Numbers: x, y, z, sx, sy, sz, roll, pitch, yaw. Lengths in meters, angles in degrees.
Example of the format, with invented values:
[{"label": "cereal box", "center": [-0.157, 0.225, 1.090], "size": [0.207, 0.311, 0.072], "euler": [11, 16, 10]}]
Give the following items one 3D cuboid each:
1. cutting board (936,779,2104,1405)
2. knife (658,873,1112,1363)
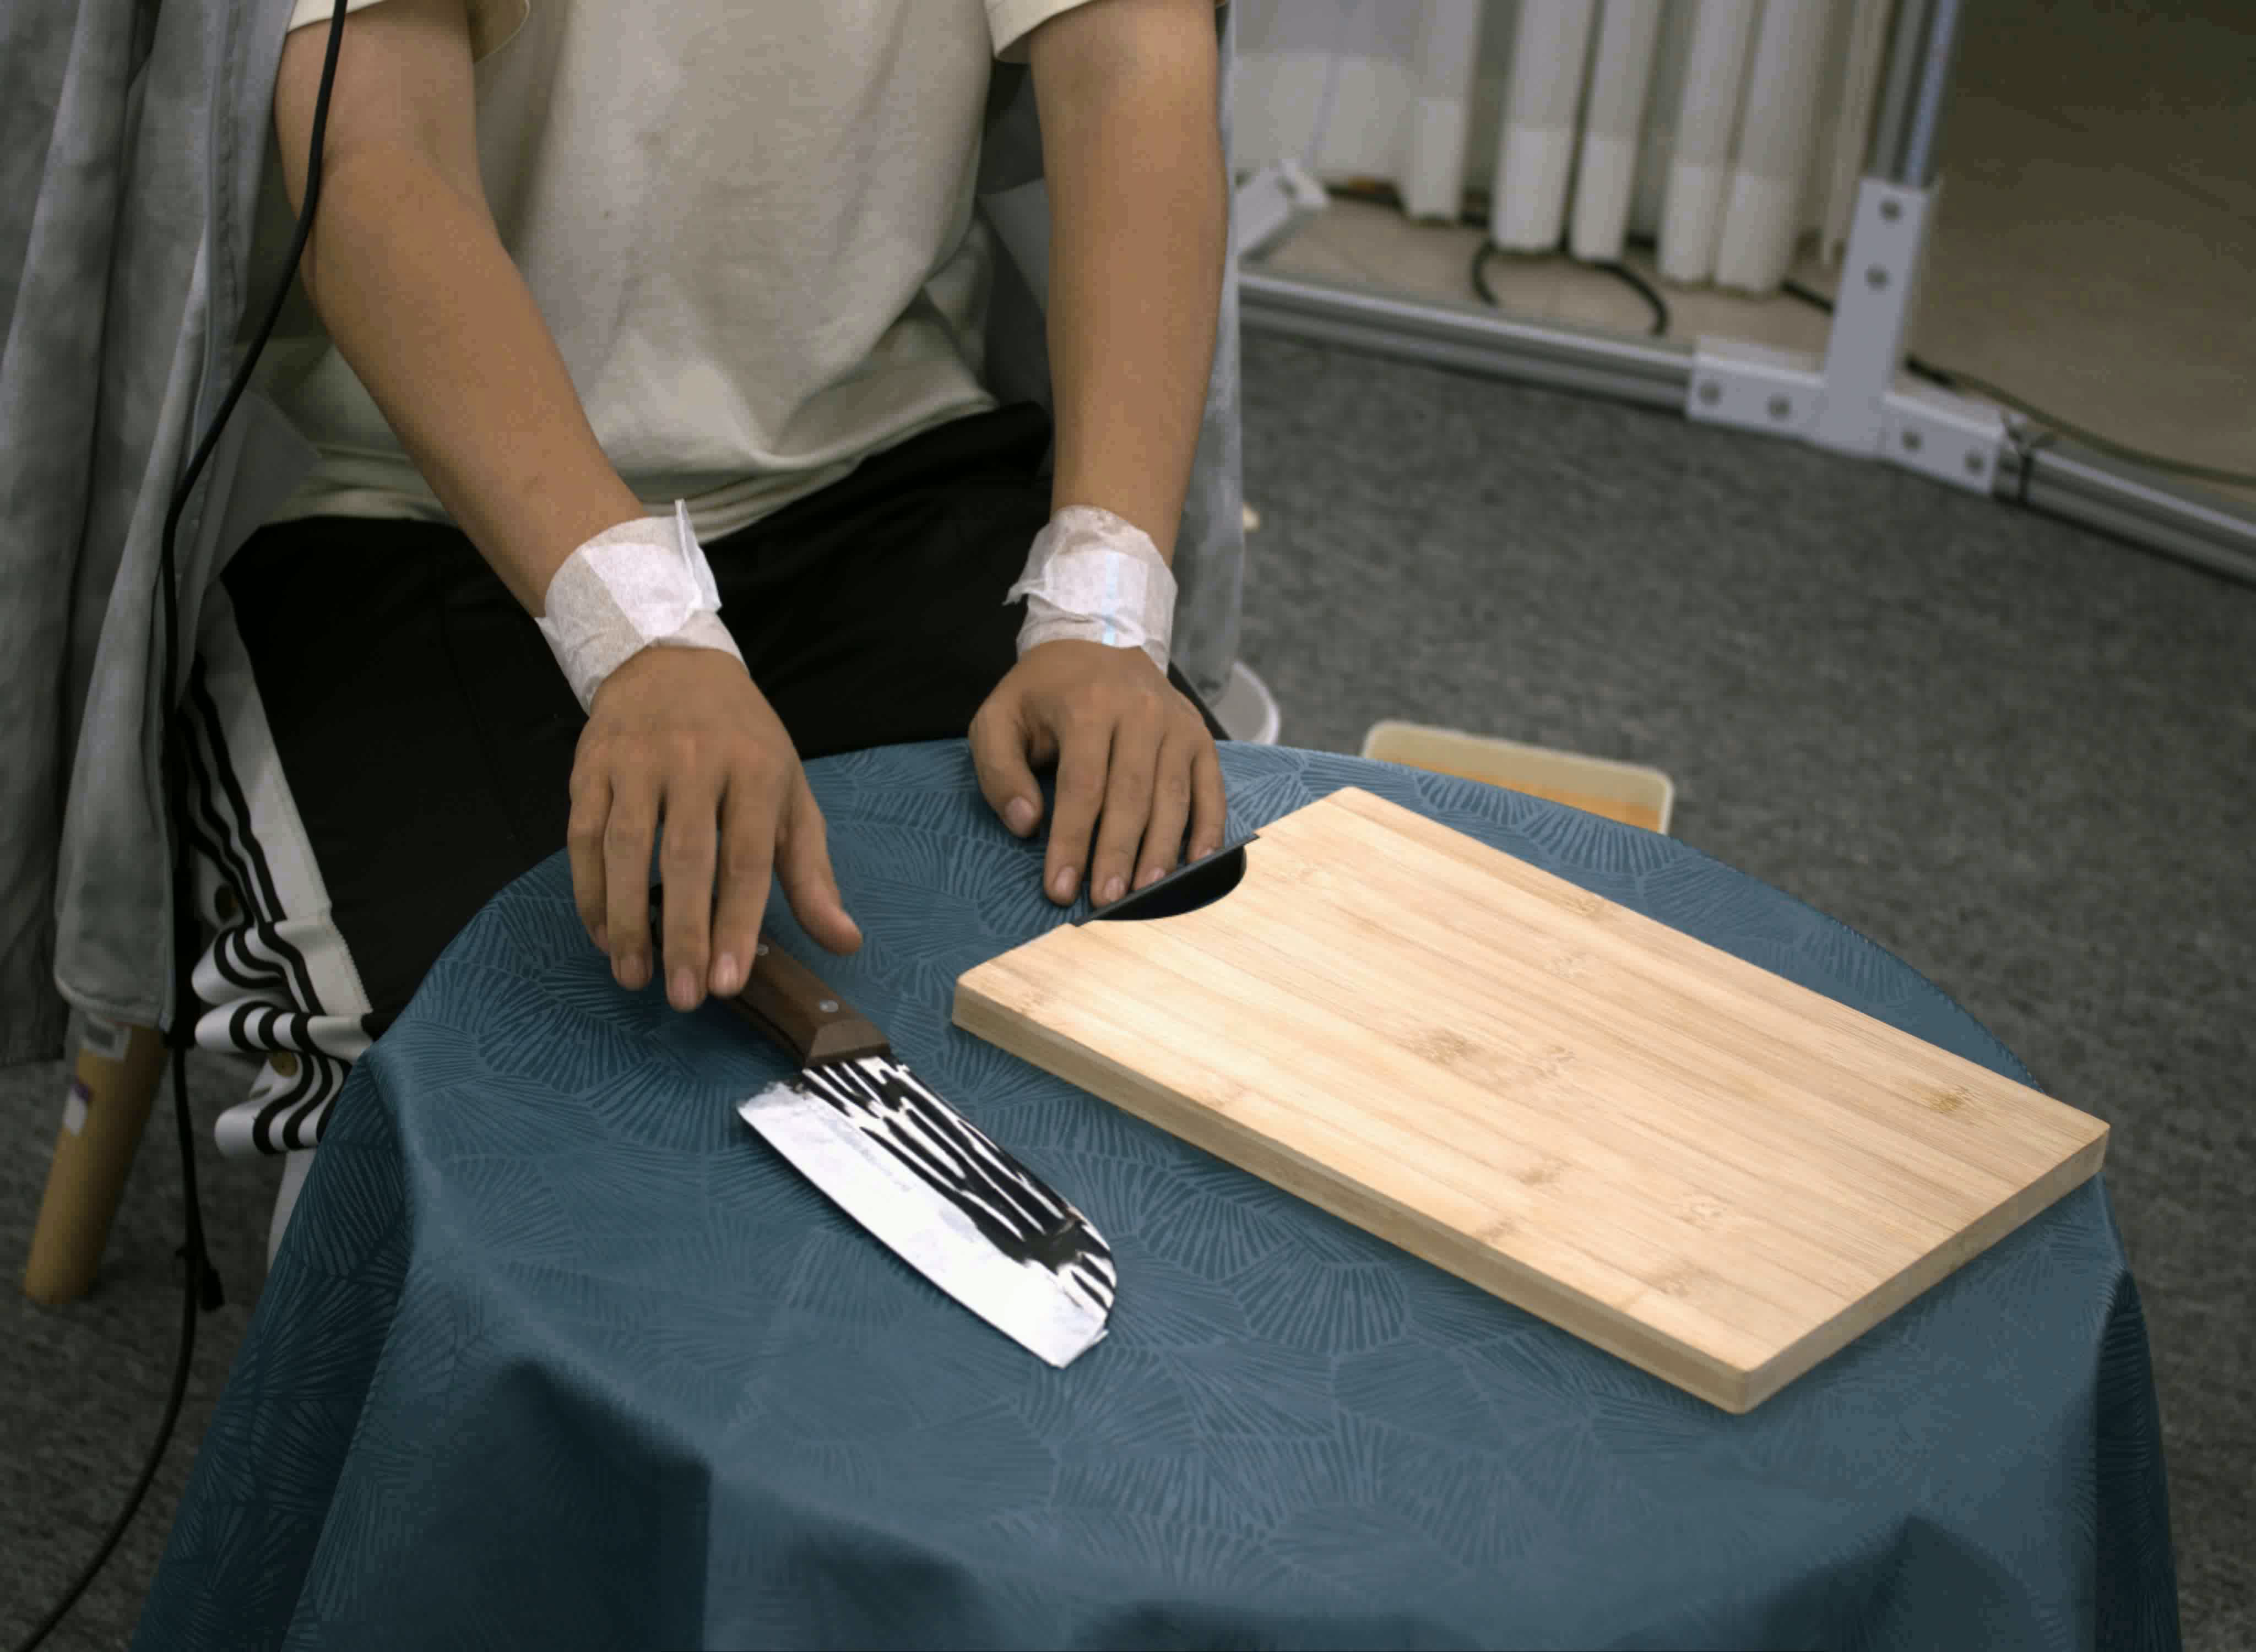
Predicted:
[{"label": "cutting board", "center": [0.138, 0.087, 1.891], "size": [0.351, 0.023, 0.250], "euler": [24, 31, 31]}, {"label": "knife", "center": [-0.093, 0.098, 1.814], "size": [0.068, 0.024, 0.302], "euler": [-15, 37, -33]}]
